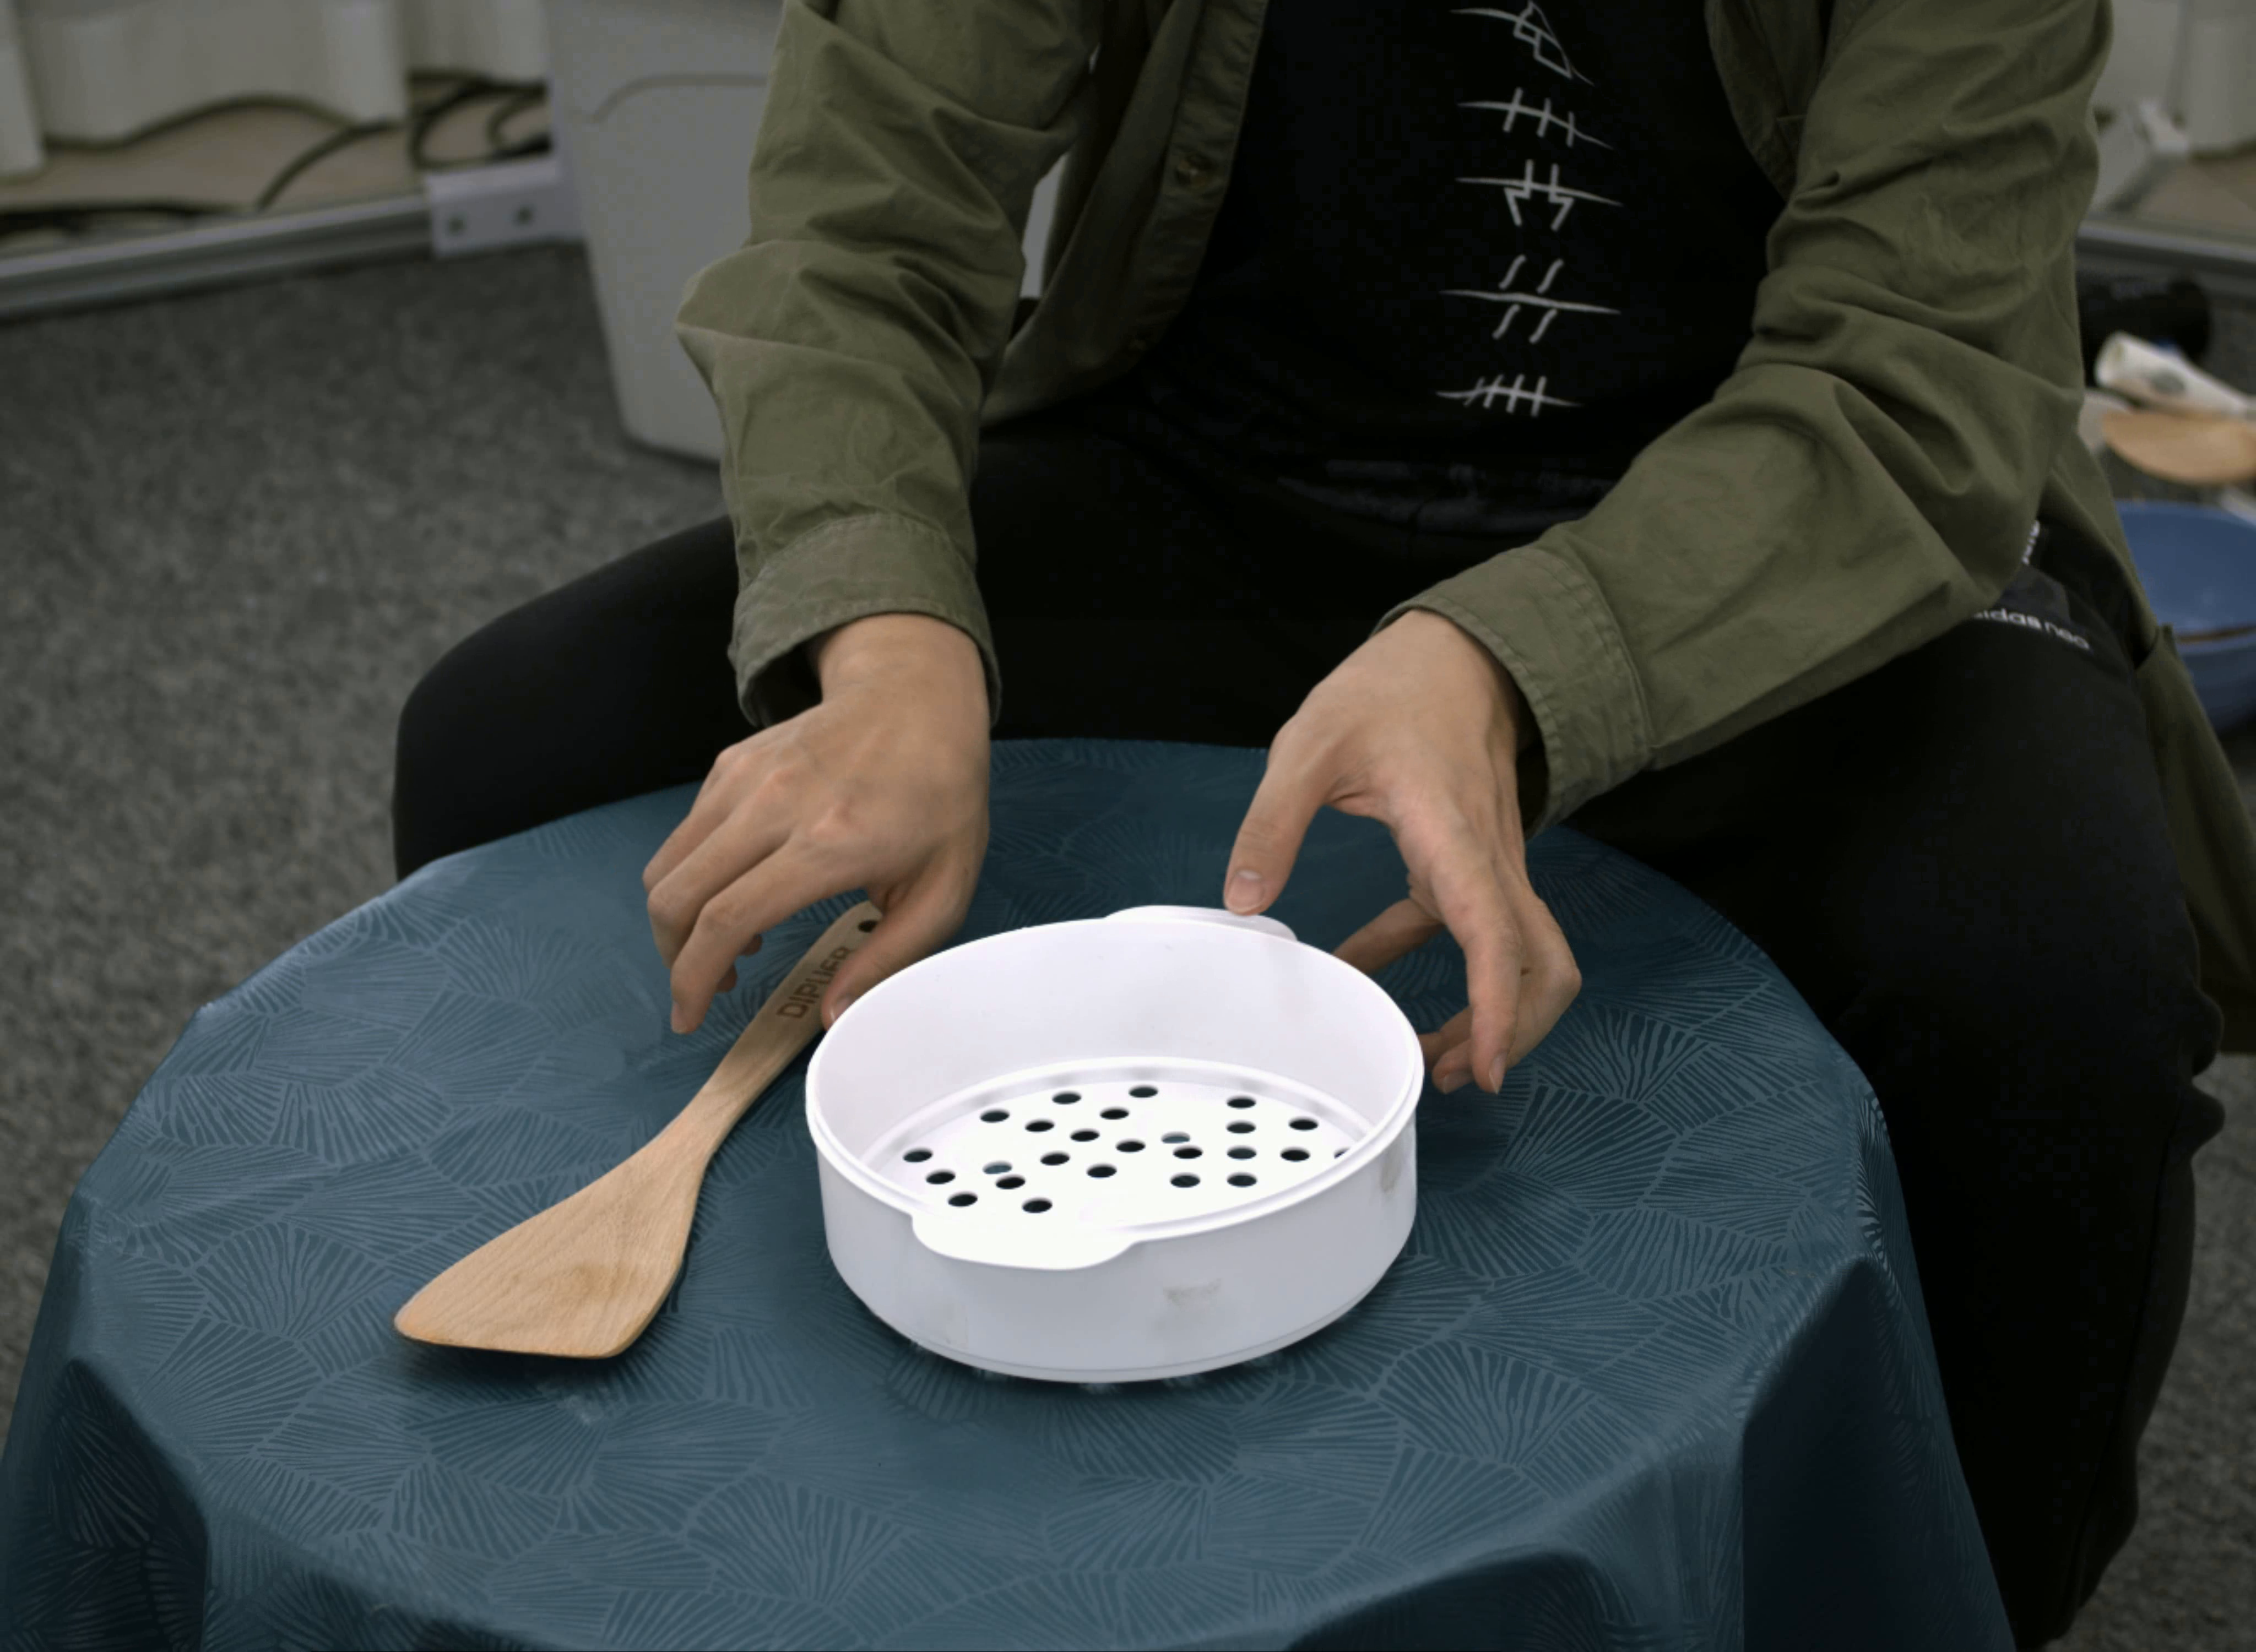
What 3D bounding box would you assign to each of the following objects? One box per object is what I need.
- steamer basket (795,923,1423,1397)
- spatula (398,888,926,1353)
[{"bbox_3d":[-0.005,0.109,1.812,0.200,0.068,0.234,6,27,16],"label":"steamer basket"},{"bbox_3d":[-0.140,0.096,1.902,0.079,0.016,0.333,8,30,20],"label":"spatula"}]
